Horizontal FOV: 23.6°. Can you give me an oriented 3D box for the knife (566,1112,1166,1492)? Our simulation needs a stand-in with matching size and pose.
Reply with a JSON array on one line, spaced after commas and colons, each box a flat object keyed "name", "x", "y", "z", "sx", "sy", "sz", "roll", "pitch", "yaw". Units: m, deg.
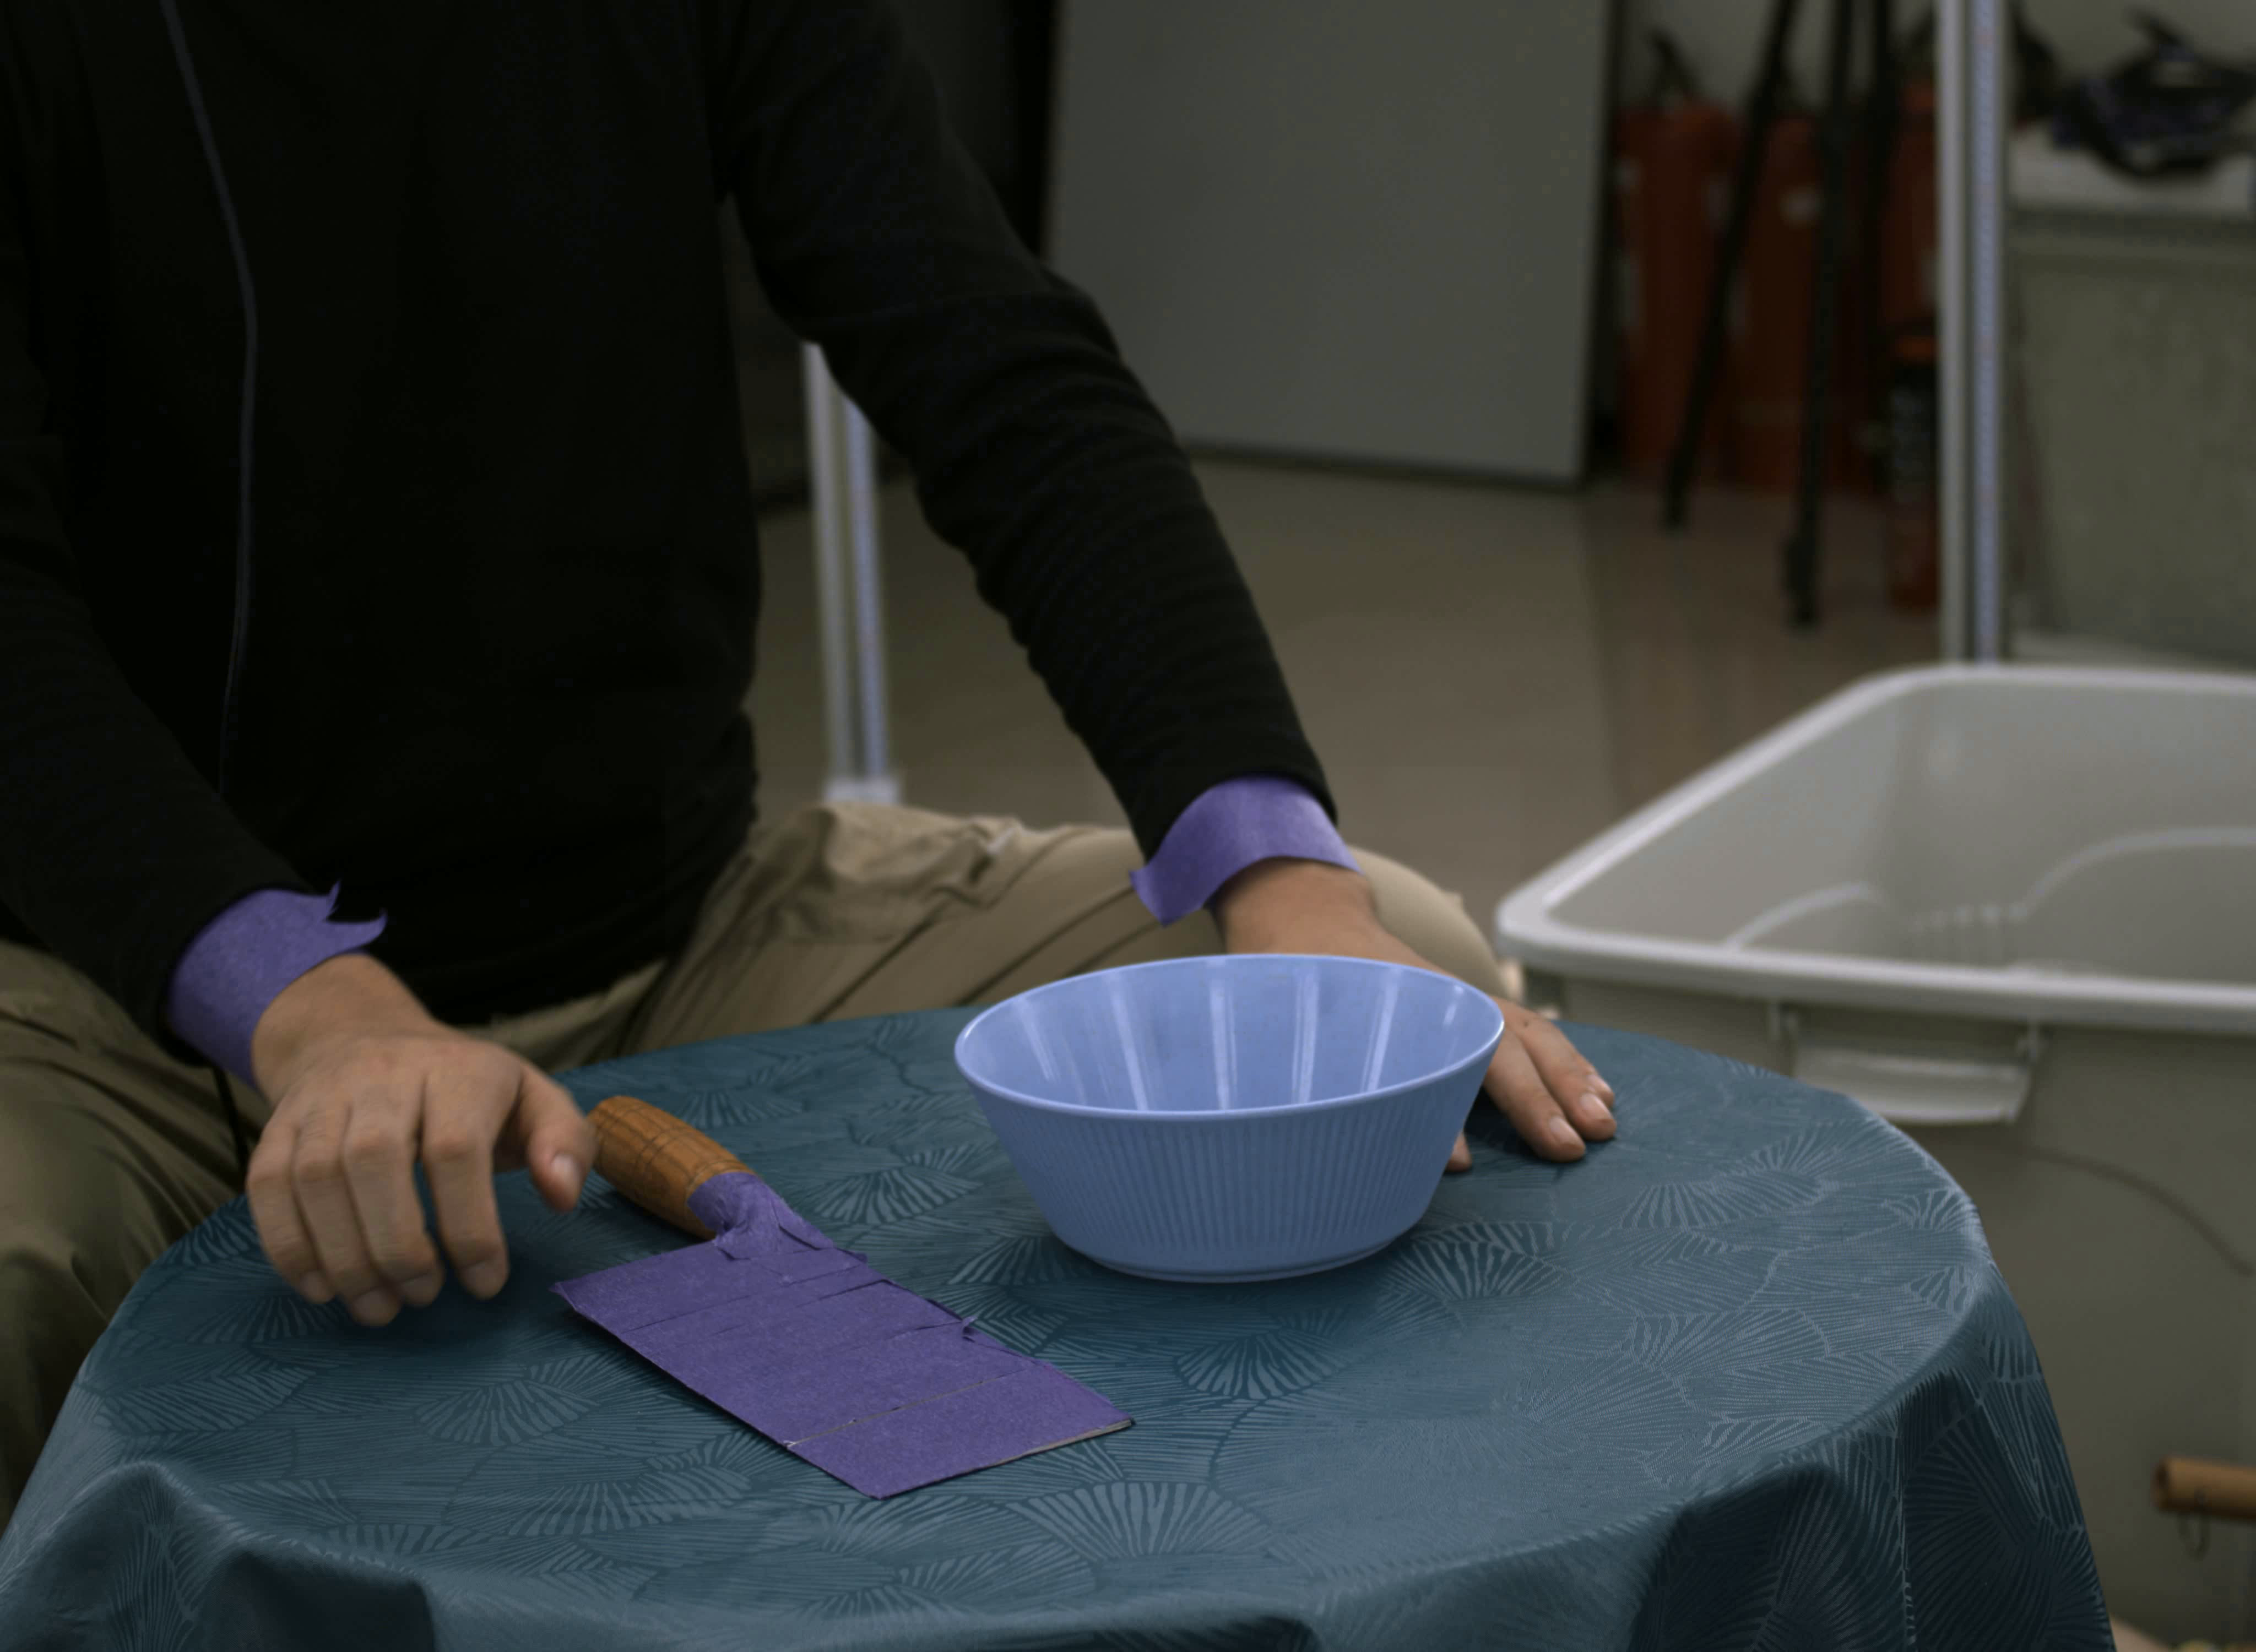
[{"name": "knife", "x": -0.113, "y": 0.143, "z": 1.665, "sx": 0.101, "sy": 0.032, "sz": 0.318, "roll": -12, "pitch": 17, "yaw": -30}]

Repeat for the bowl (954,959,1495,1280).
[{"name": "bowl", "x": 0.033, "y": 0.096, "z": 1.718, "sx": 0.174, "sy": 0.071, "sz": 0.176, "roll": -4, "pitch": 13, "yaw": 0}]
